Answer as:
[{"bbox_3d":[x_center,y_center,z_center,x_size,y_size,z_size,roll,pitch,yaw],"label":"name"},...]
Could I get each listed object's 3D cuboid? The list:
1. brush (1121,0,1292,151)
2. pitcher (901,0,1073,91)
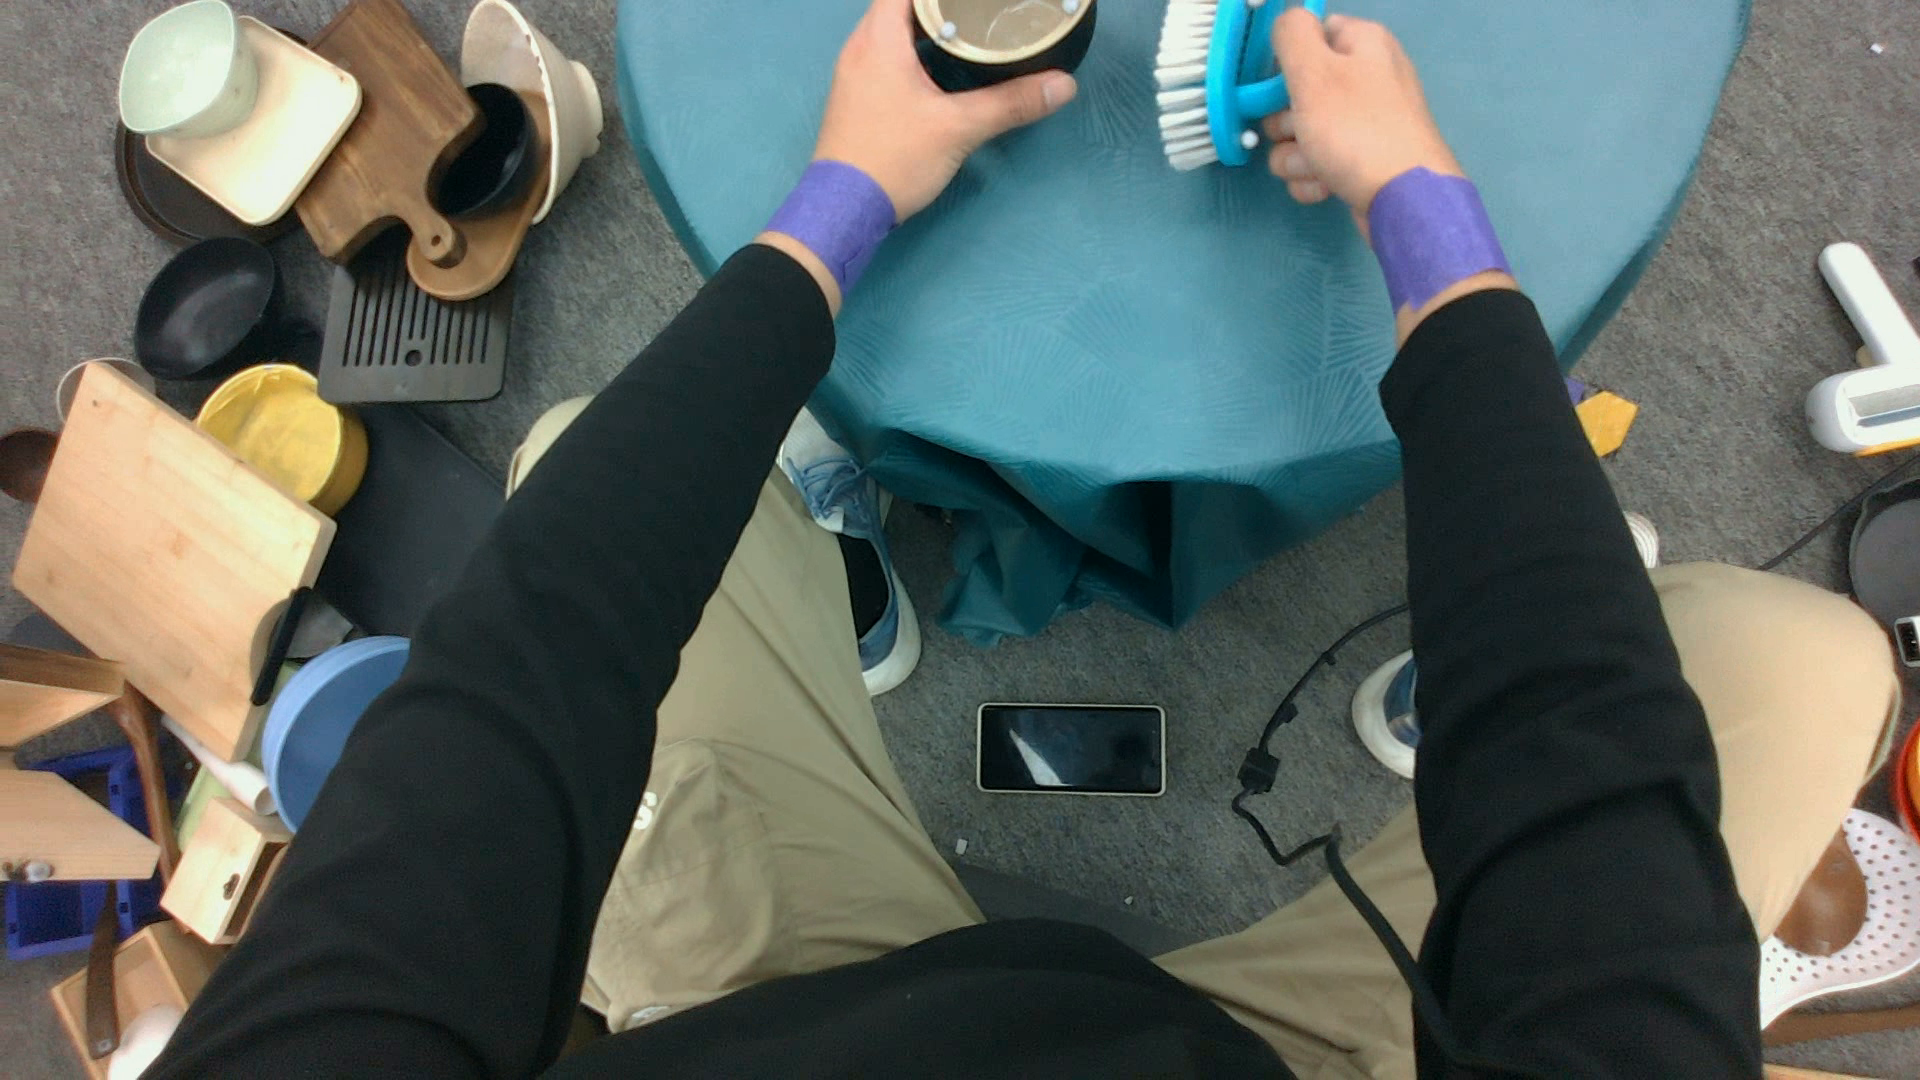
[{"bbox_3d":[0.129,-0.257,0.675,0.063,0.084,0.142,6,70,29],"label":"brush"},{"bbox_3d":[0.019,-0.273,0.696,0.083,0.071,0.096,5,78,18],"label":"pitcher"}]
